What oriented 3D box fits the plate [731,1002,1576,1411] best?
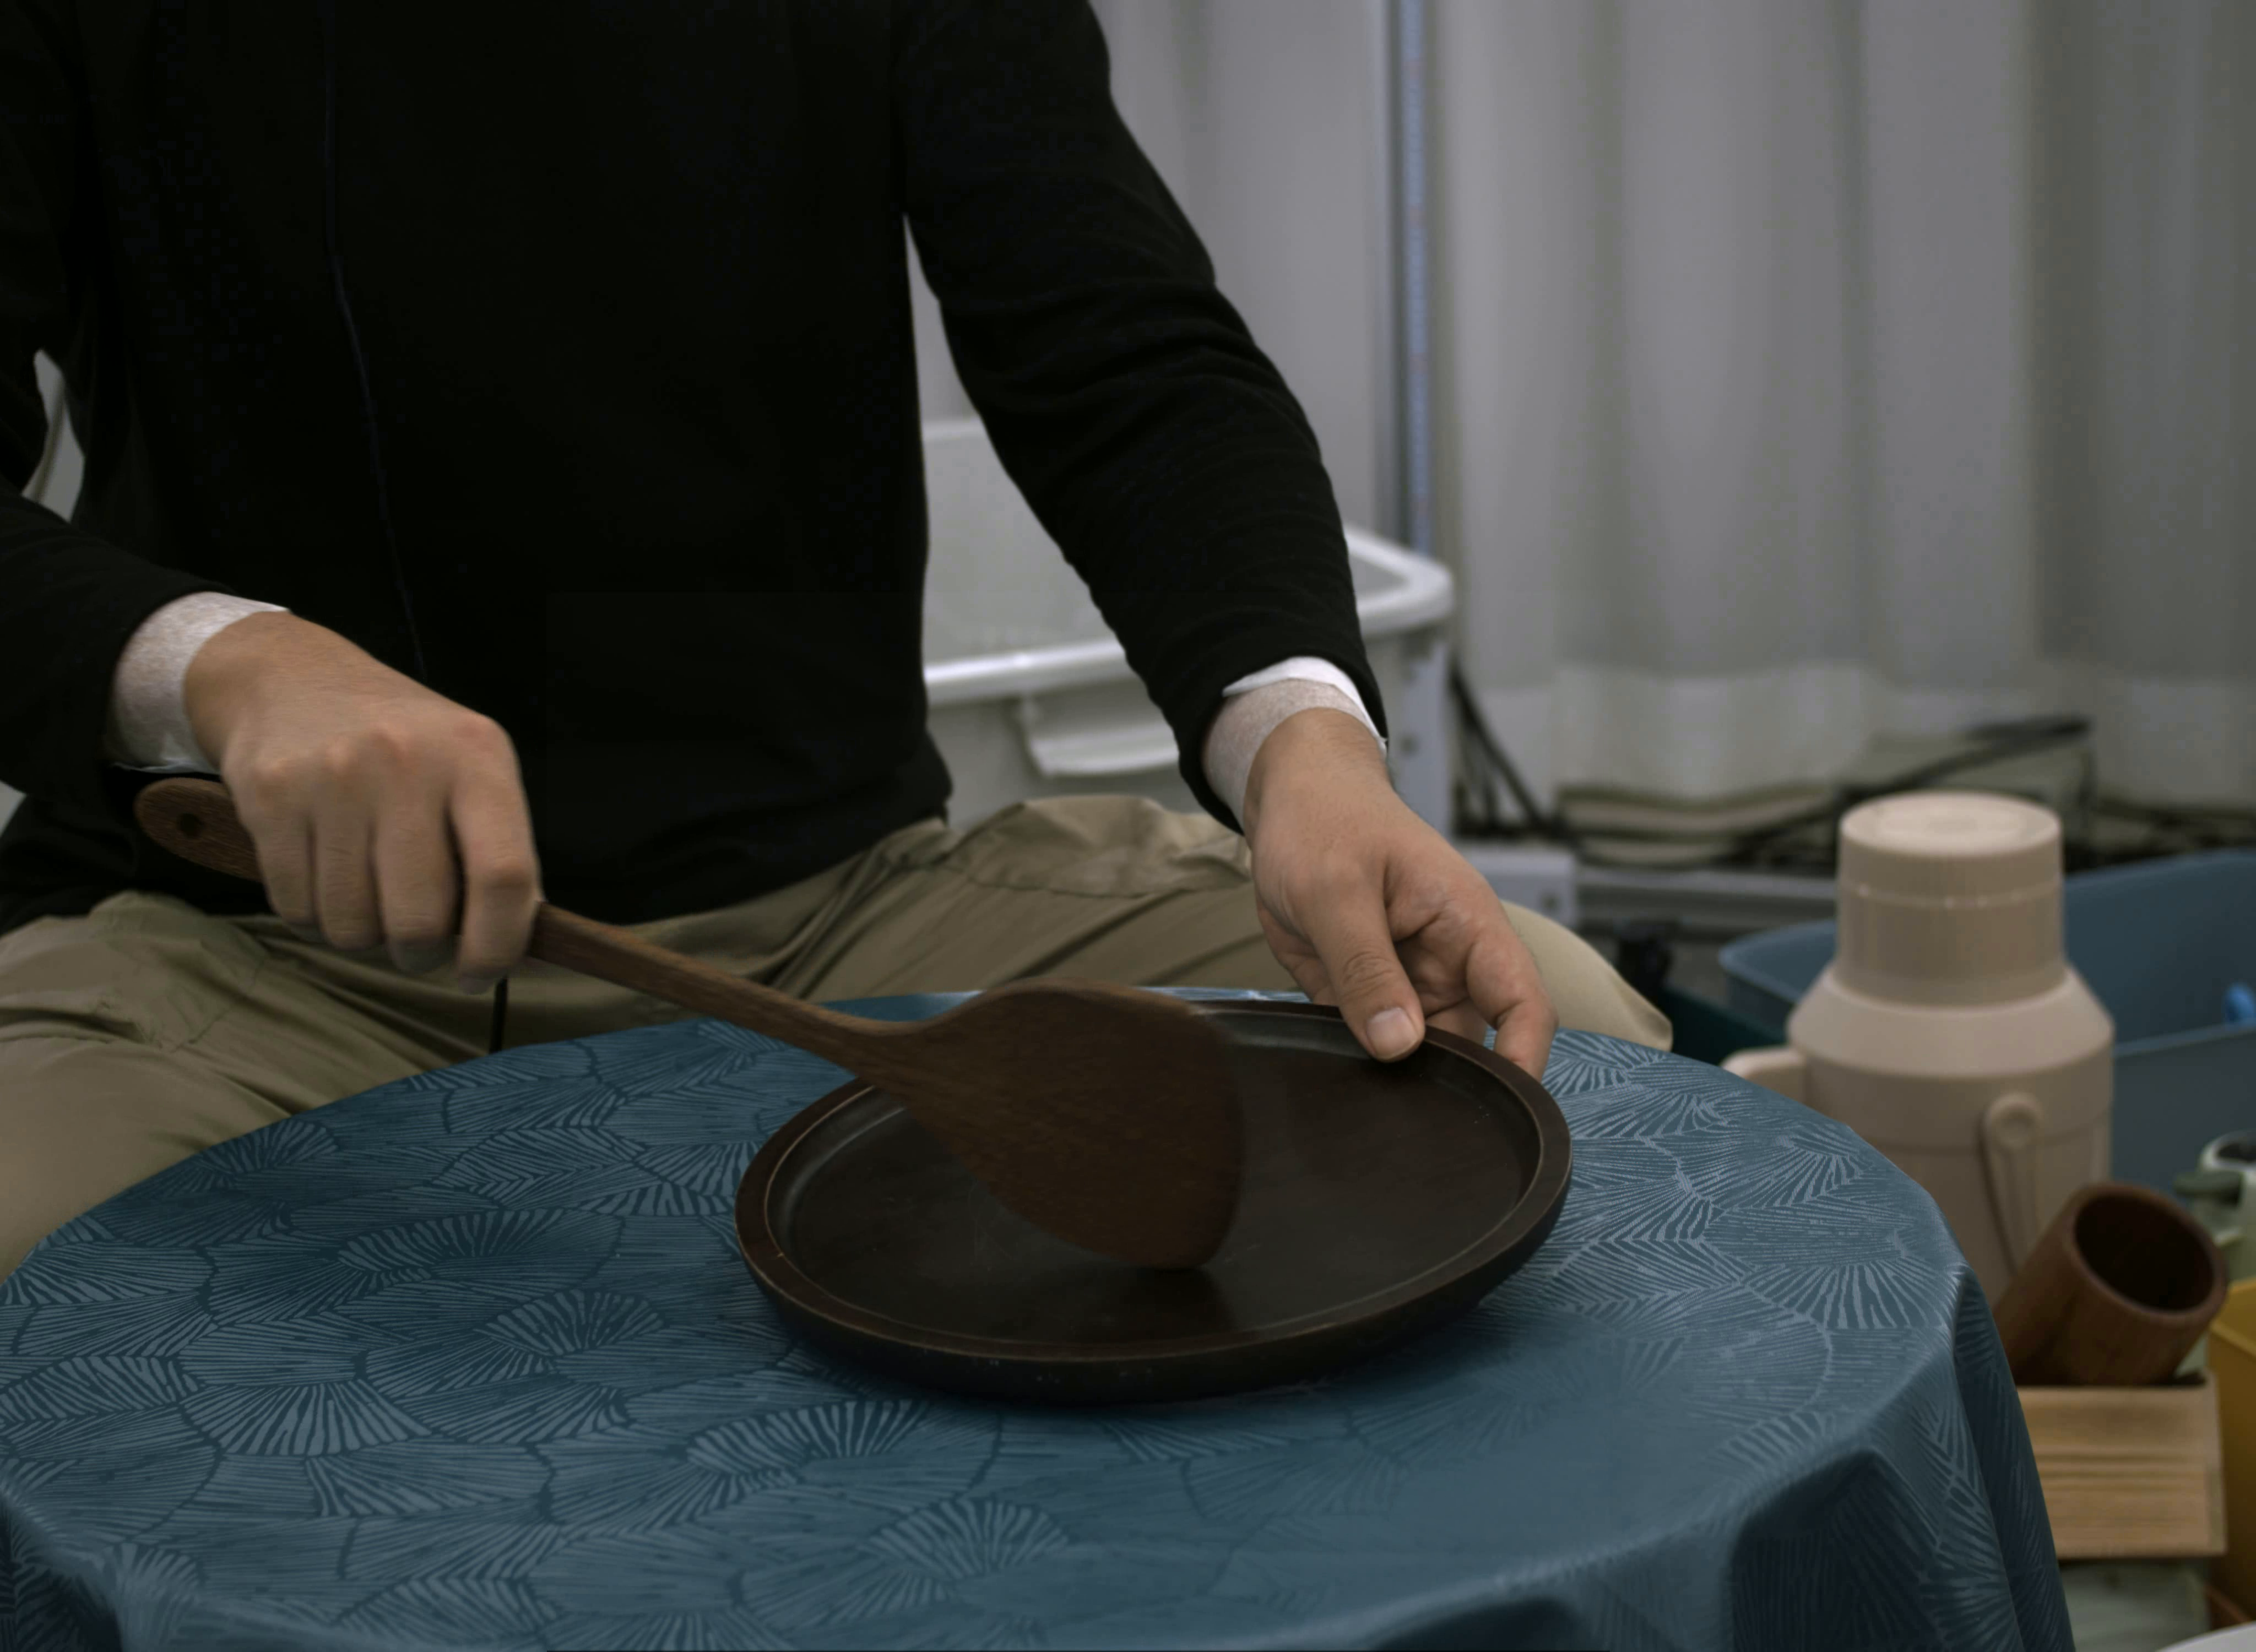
[{"bbox_3d":[0.008,0.111,1.632,0.254,0.029,0.257,-5,22,2],"label":"plate"}]

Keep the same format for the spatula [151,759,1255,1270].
[{"bbox_3d":[-0.133,0.041,1.629,0.387,0.095,0.016,18,33,24],"label":"spatula"}]
